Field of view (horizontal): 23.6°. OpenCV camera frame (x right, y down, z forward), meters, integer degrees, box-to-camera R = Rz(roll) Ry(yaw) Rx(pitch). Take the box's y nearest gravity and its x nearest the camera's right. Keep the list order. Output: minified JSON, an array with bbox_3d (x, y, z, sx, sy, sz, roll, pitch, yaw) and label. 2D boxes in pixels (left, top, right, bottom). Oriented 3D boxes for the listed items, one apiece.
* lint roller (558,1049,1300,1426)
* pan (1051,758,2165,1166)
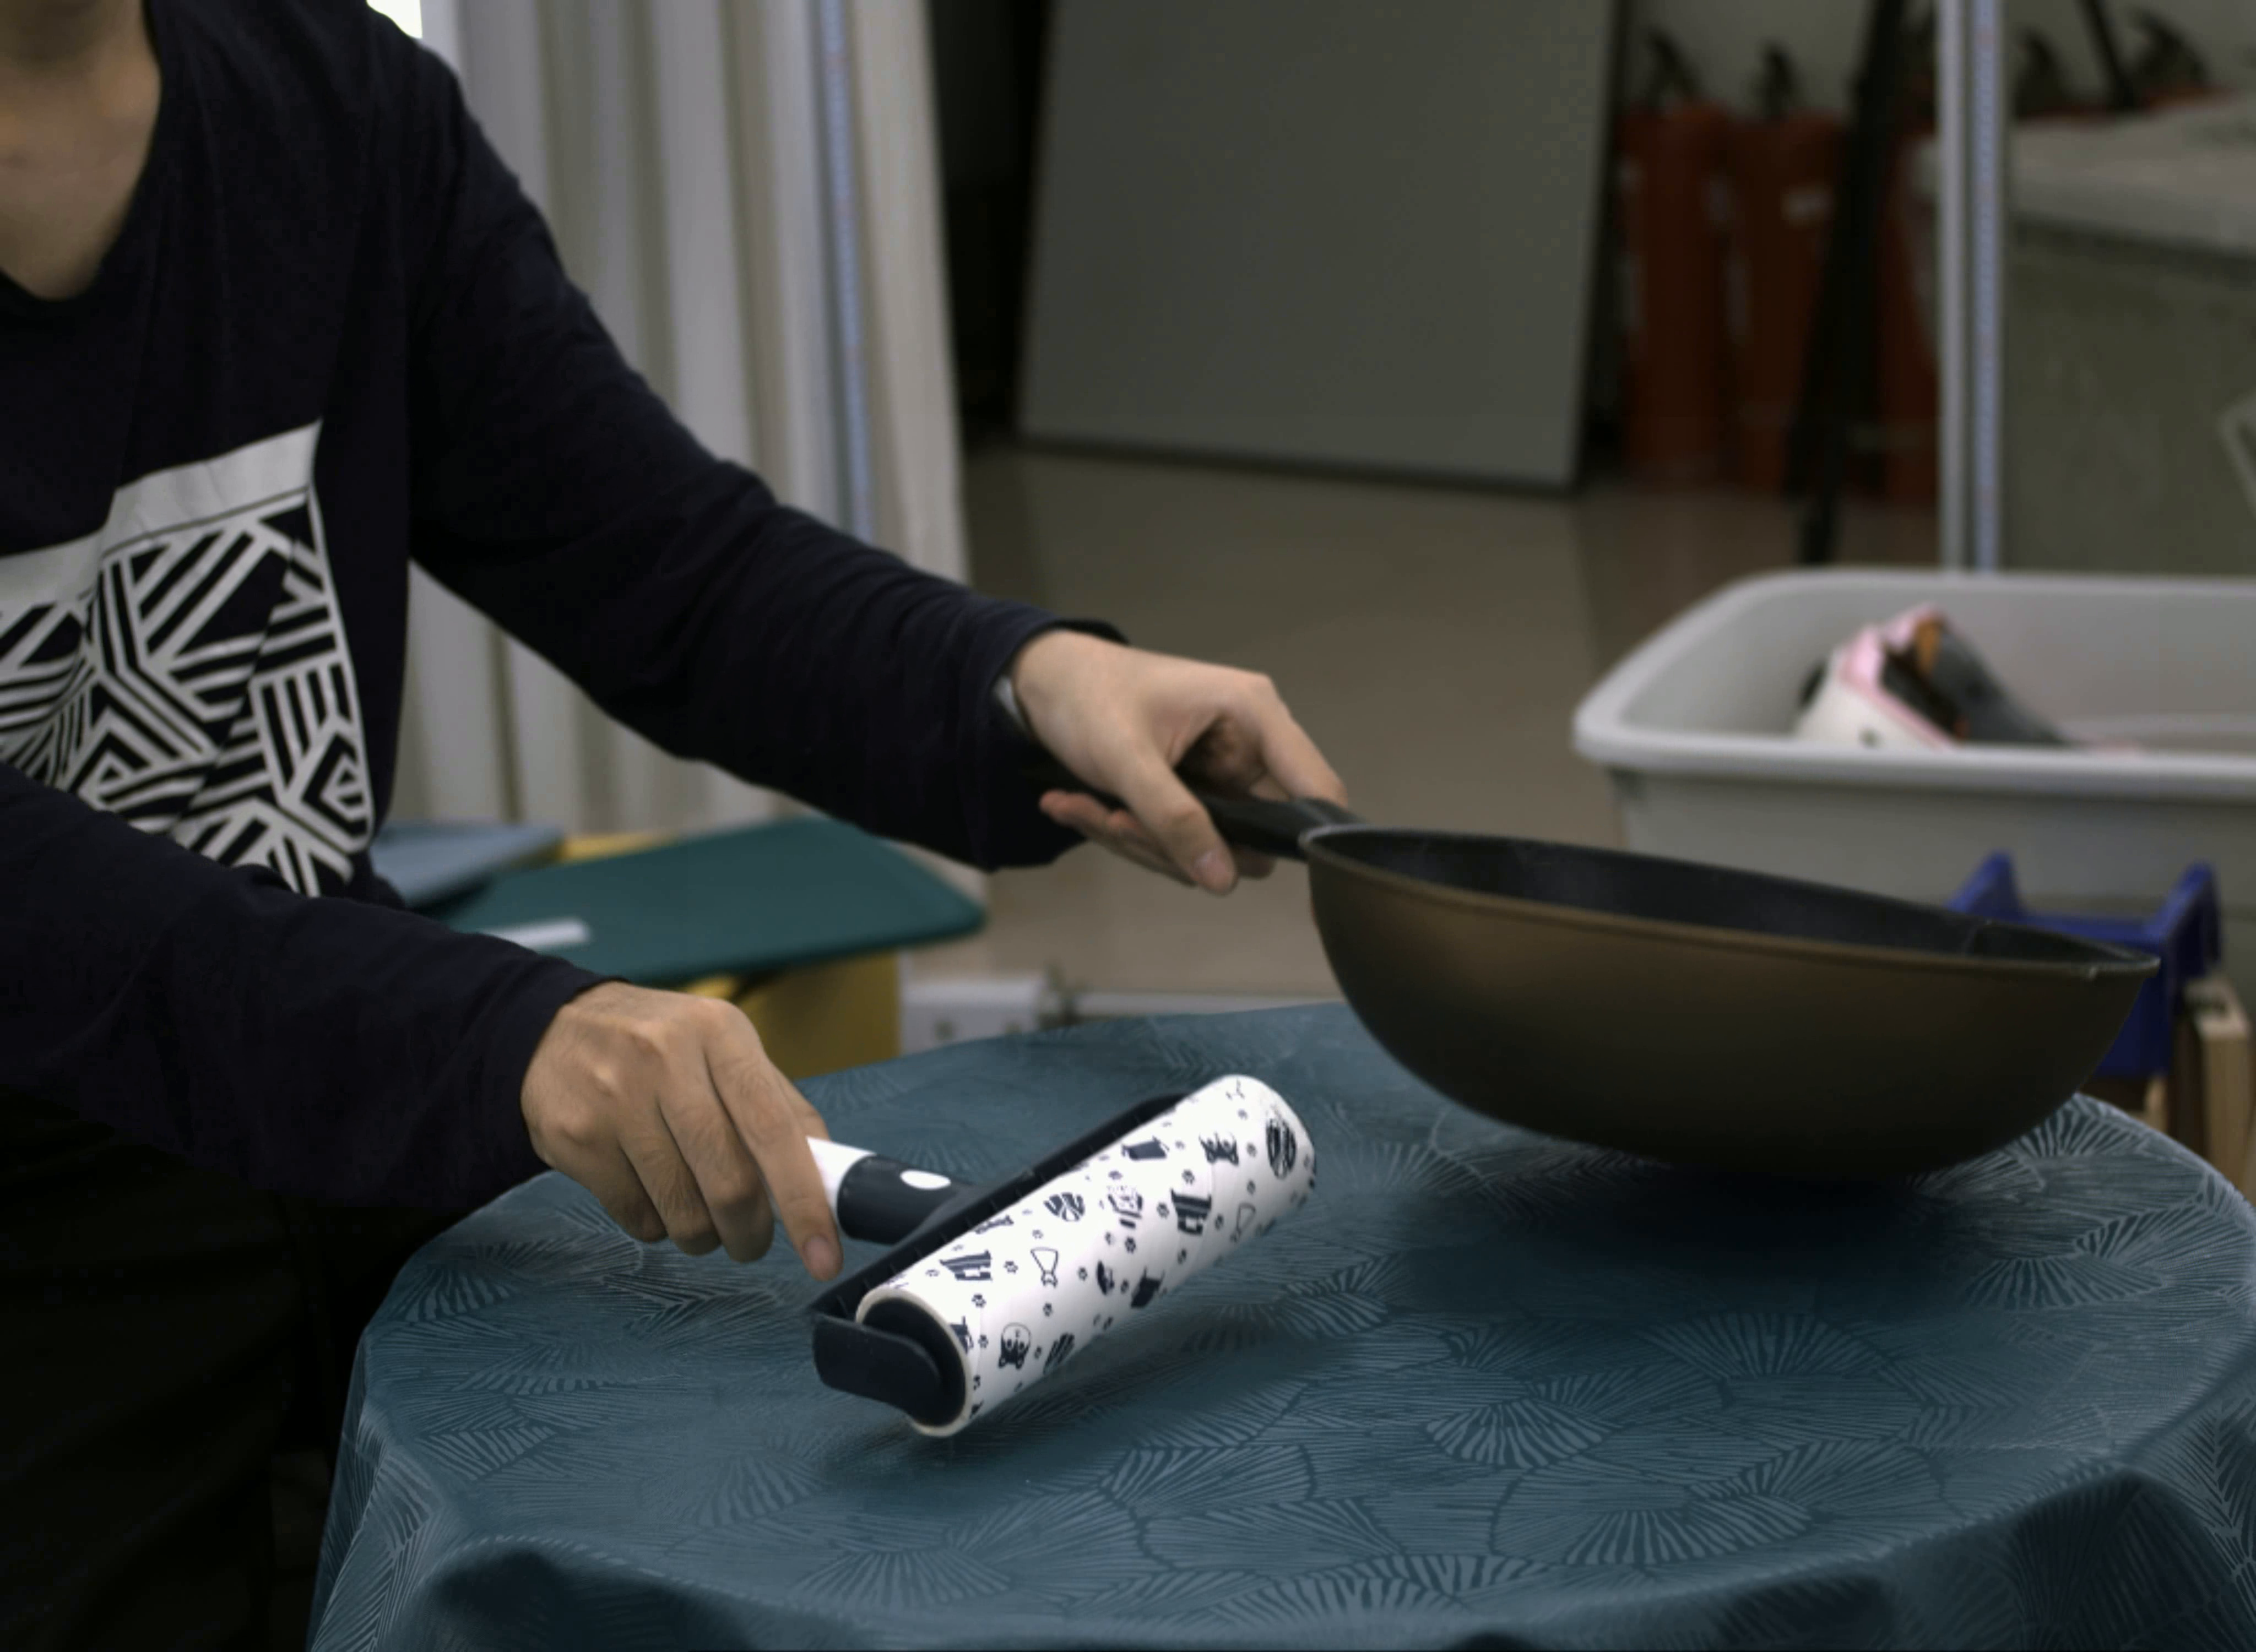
[{"bbox_3d":[-0.089,0.110,1.654,0.249,0.051,0.173,8,28,41],"label":"lint roller"},{"bbox_3d":[0.124,0.043,1.784,0.281,0.088,0.468,5,4,-43],"label":"pan"}]
